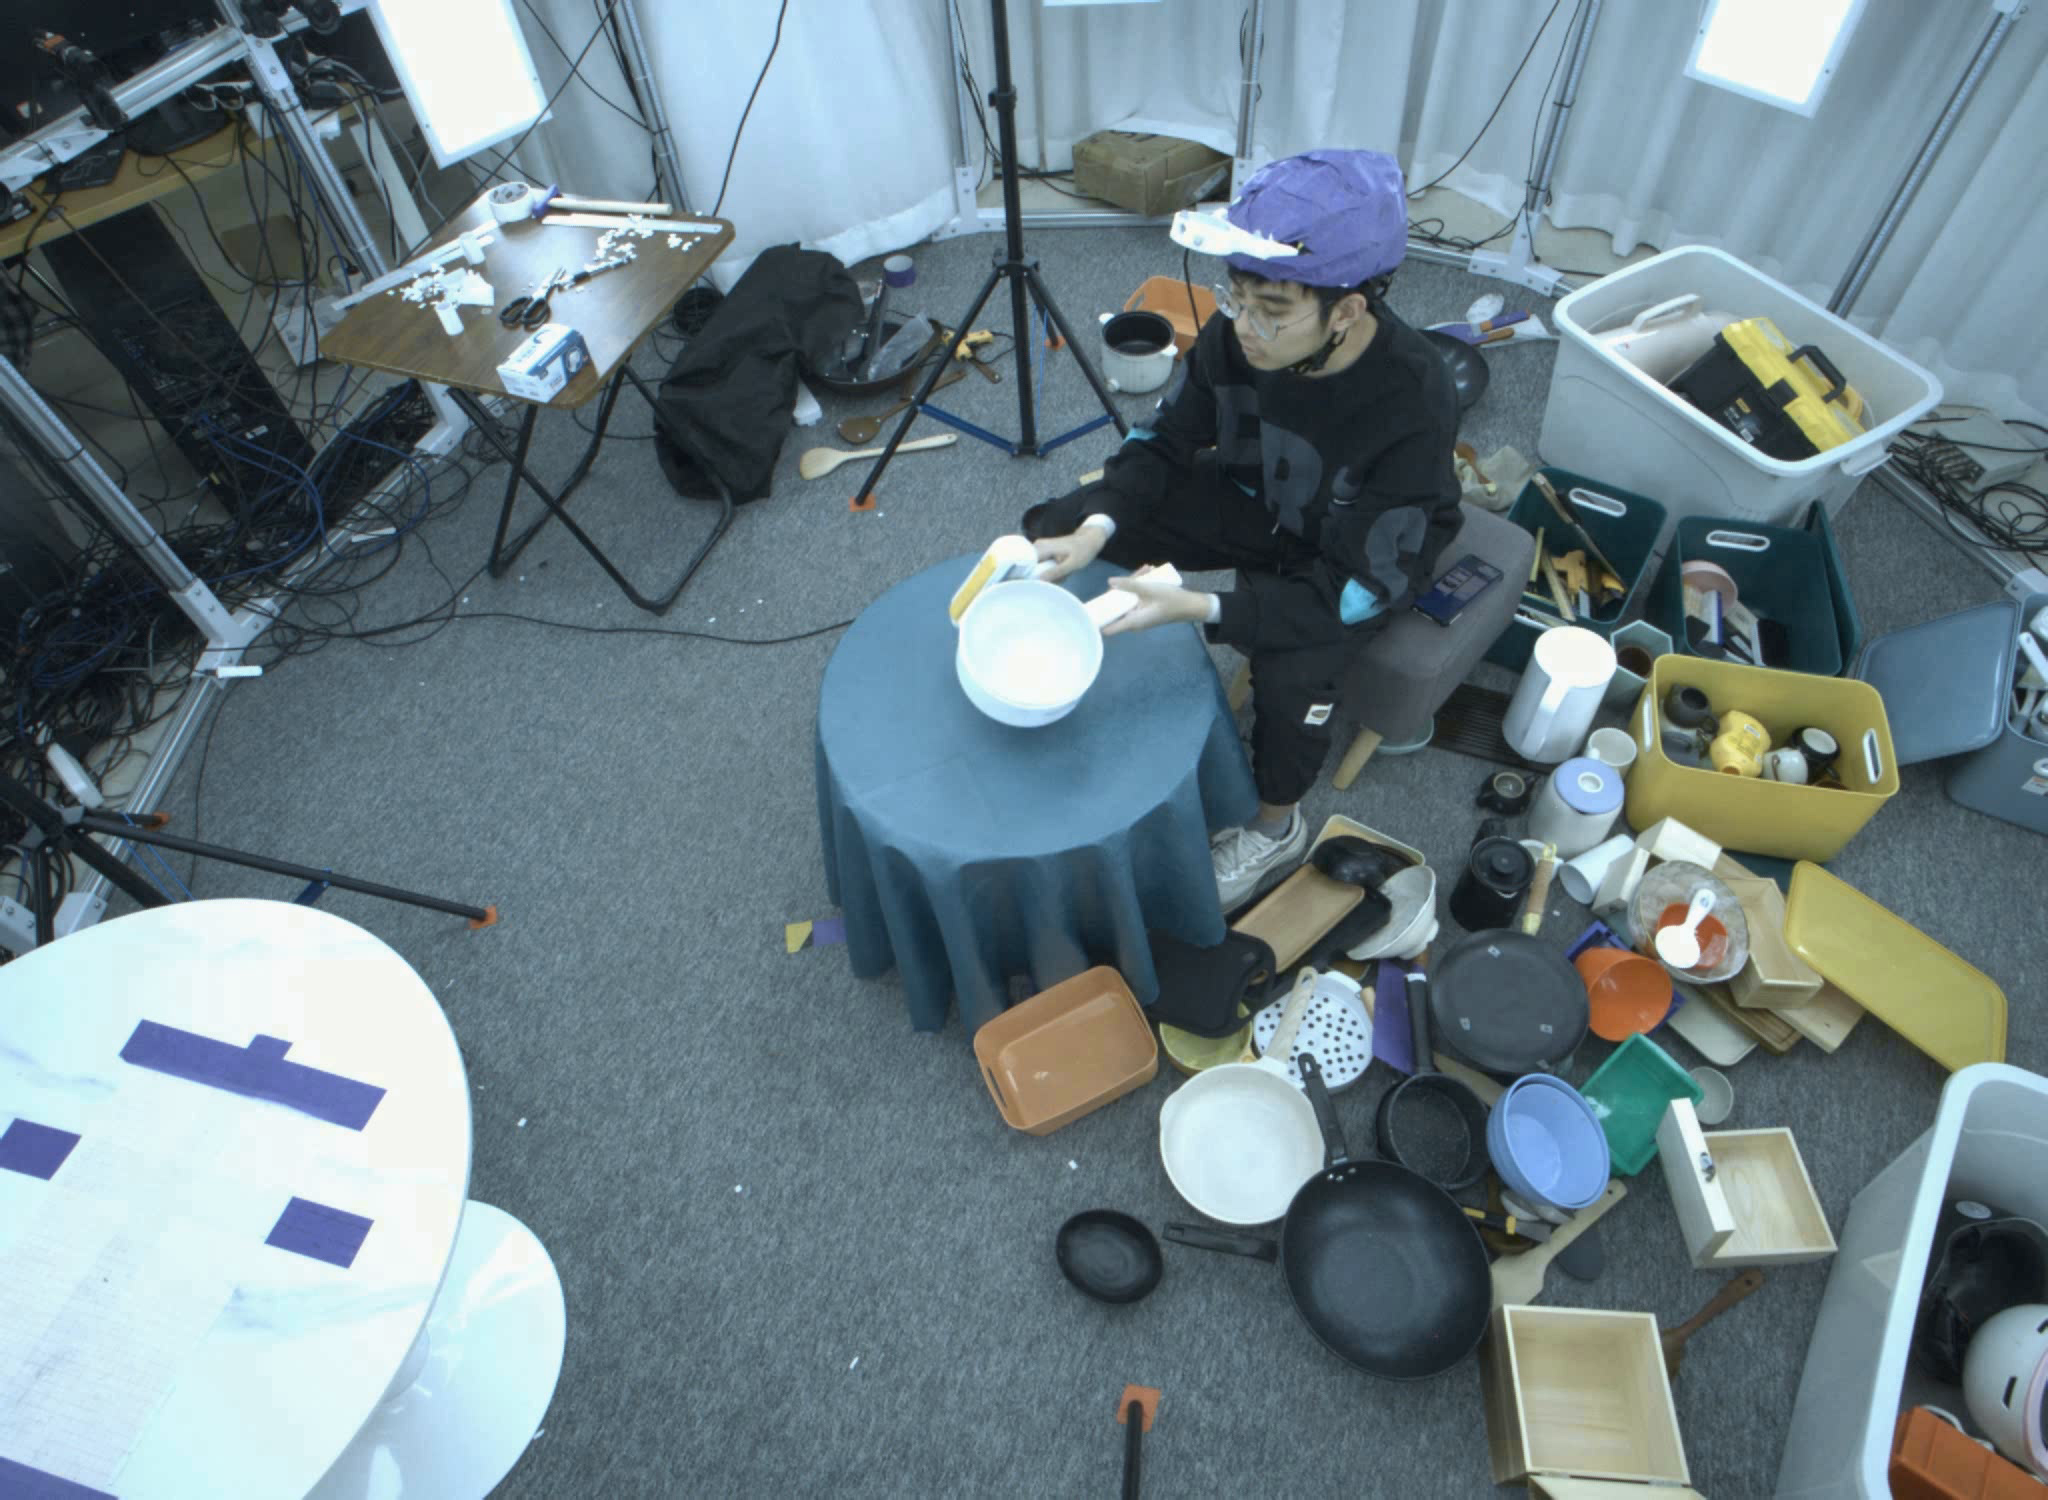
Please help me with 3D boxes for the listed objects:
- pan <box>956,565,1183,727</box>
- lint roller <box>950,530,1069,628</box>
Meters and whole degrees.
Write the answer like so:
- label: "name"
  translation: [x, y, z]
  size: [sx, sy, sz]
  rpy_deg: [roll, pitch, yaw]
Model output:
- label: "pan"
  translation: [0.066, -0.166, 1.764]
  size: [0.358, 0.102, 0.199]
  rpy_deg: [-28, 76, -22]
- label: "lint roller"
  translation: [-0.002, -0.255, 1.809]
  size: [0.196, 0.191, 0.073]
  rpy_deg: [-9, 61, -40]
